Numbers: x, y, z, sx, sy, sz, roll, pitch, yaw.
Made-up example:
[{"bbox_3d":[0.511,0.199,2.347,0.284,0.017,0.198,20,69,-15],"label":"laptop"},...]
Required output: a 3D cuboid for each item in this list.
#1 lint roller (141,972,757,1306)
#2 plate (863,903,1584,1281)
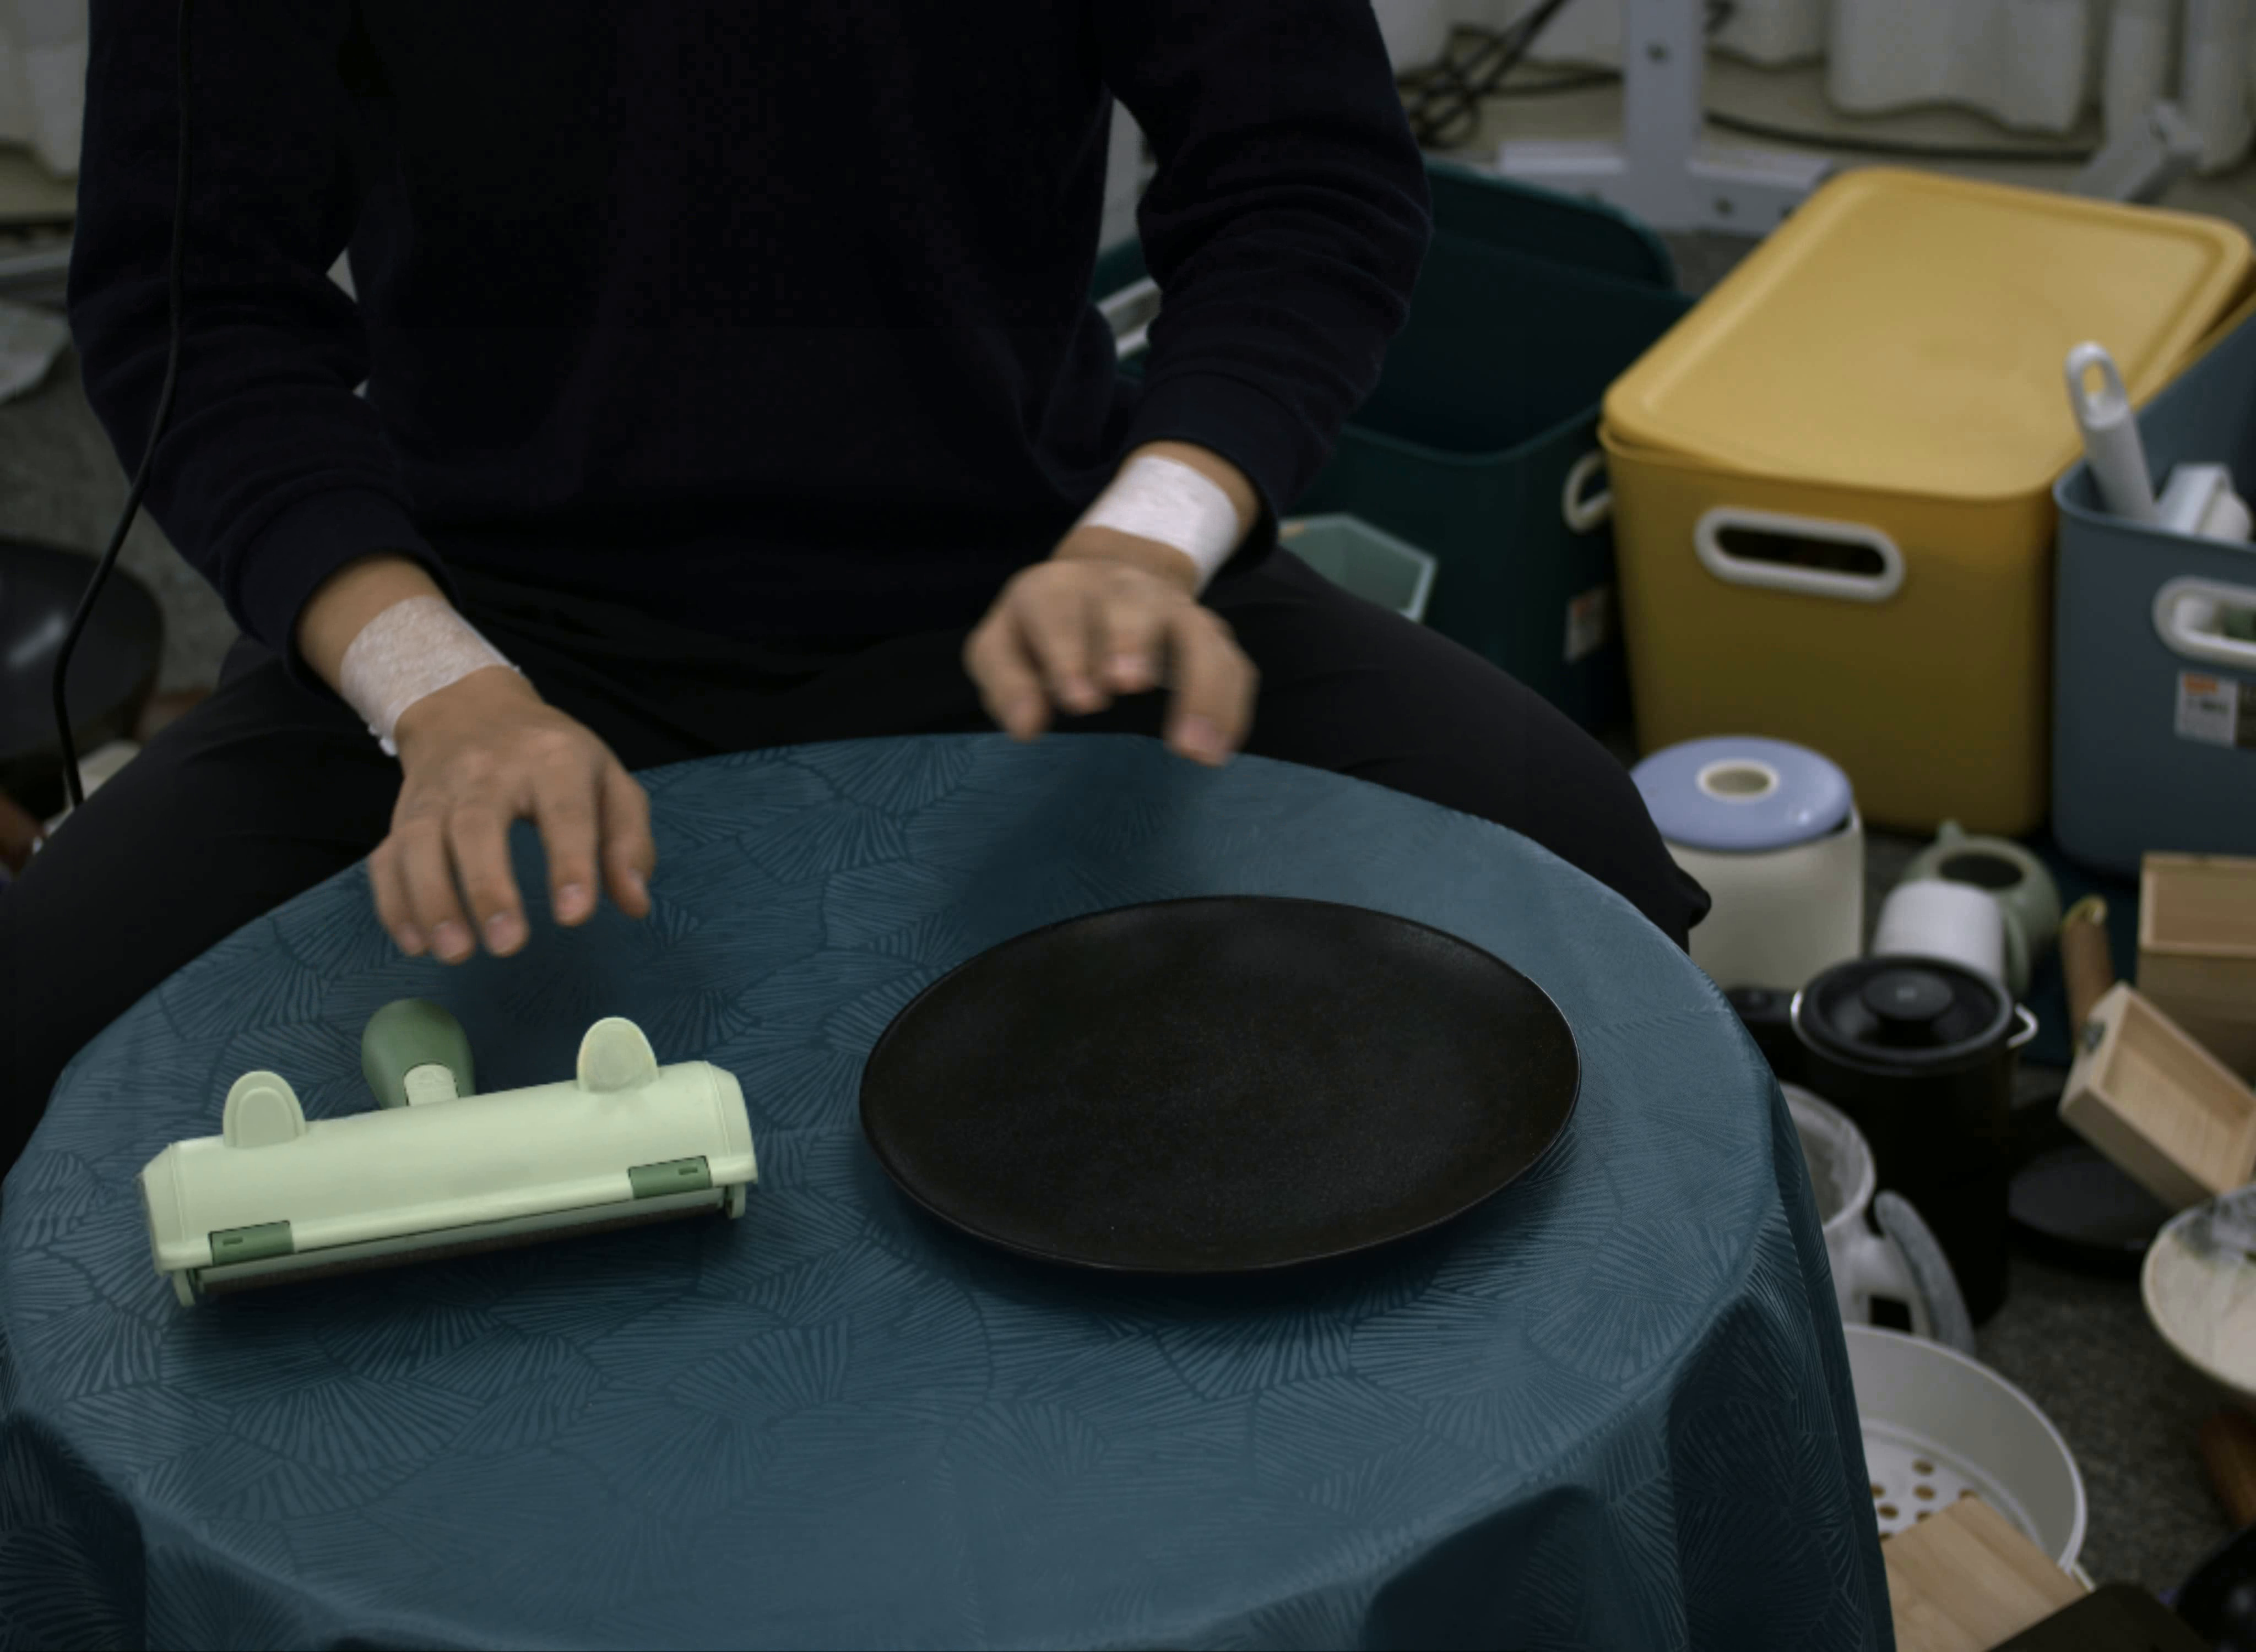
[{"bbox_3d":[-0.235,0.080,1.873,0.198,0.081,0.186,-8,34,-12],"label":"lint roller"},{"bbox_3d":[0.032,0.093,1.889,0.243,0.023,0.248,-2,27,2],"label":"plate"}]
